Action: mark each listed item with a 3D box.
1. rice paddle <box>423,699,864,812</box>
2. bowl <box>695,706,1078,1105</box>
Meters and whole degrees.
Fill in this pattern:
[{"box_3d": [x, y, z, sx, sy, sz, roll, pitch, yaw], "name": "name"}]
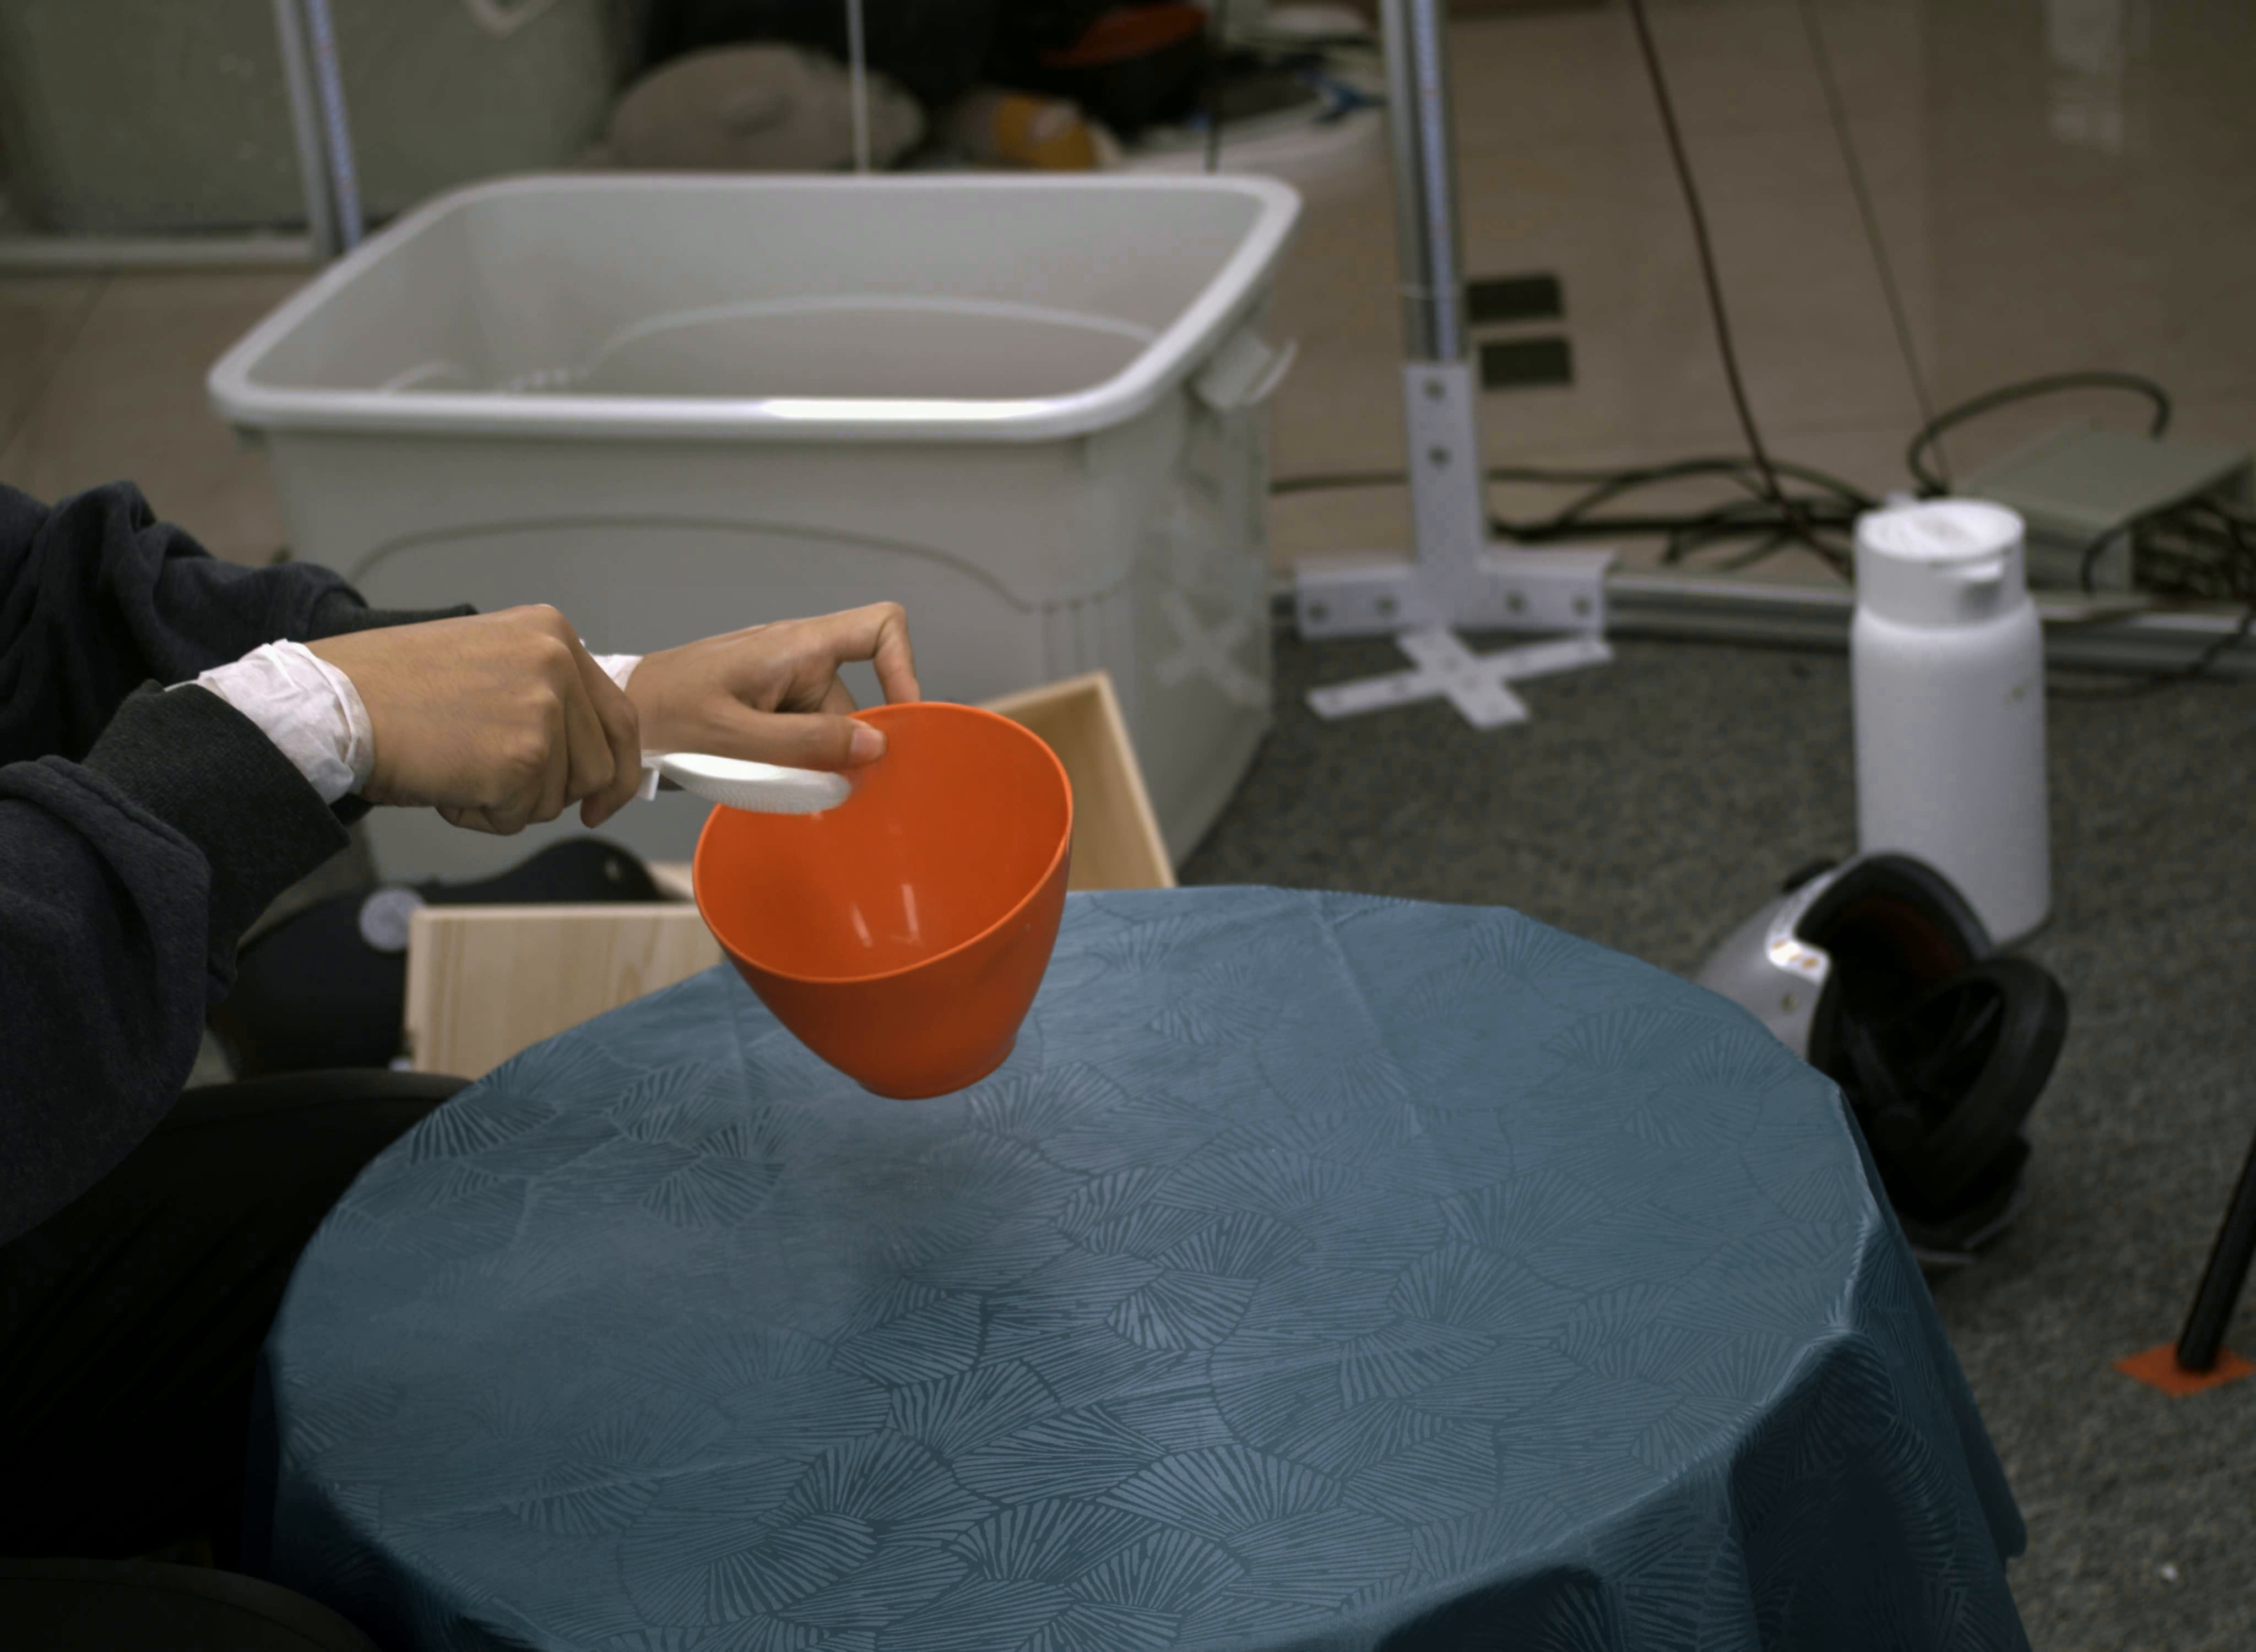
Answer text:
[{"box_3d": [-0.171, -0.024, 2.033, 0.068, 0.029, 0.205, 16, 6, 37], "name": "rice paddle"}, {"box_3d": [-0.084, 0.038, 2.148, 0.148, 0.106, 0.145, -9, 34, 6], "name": "bowl"}]
